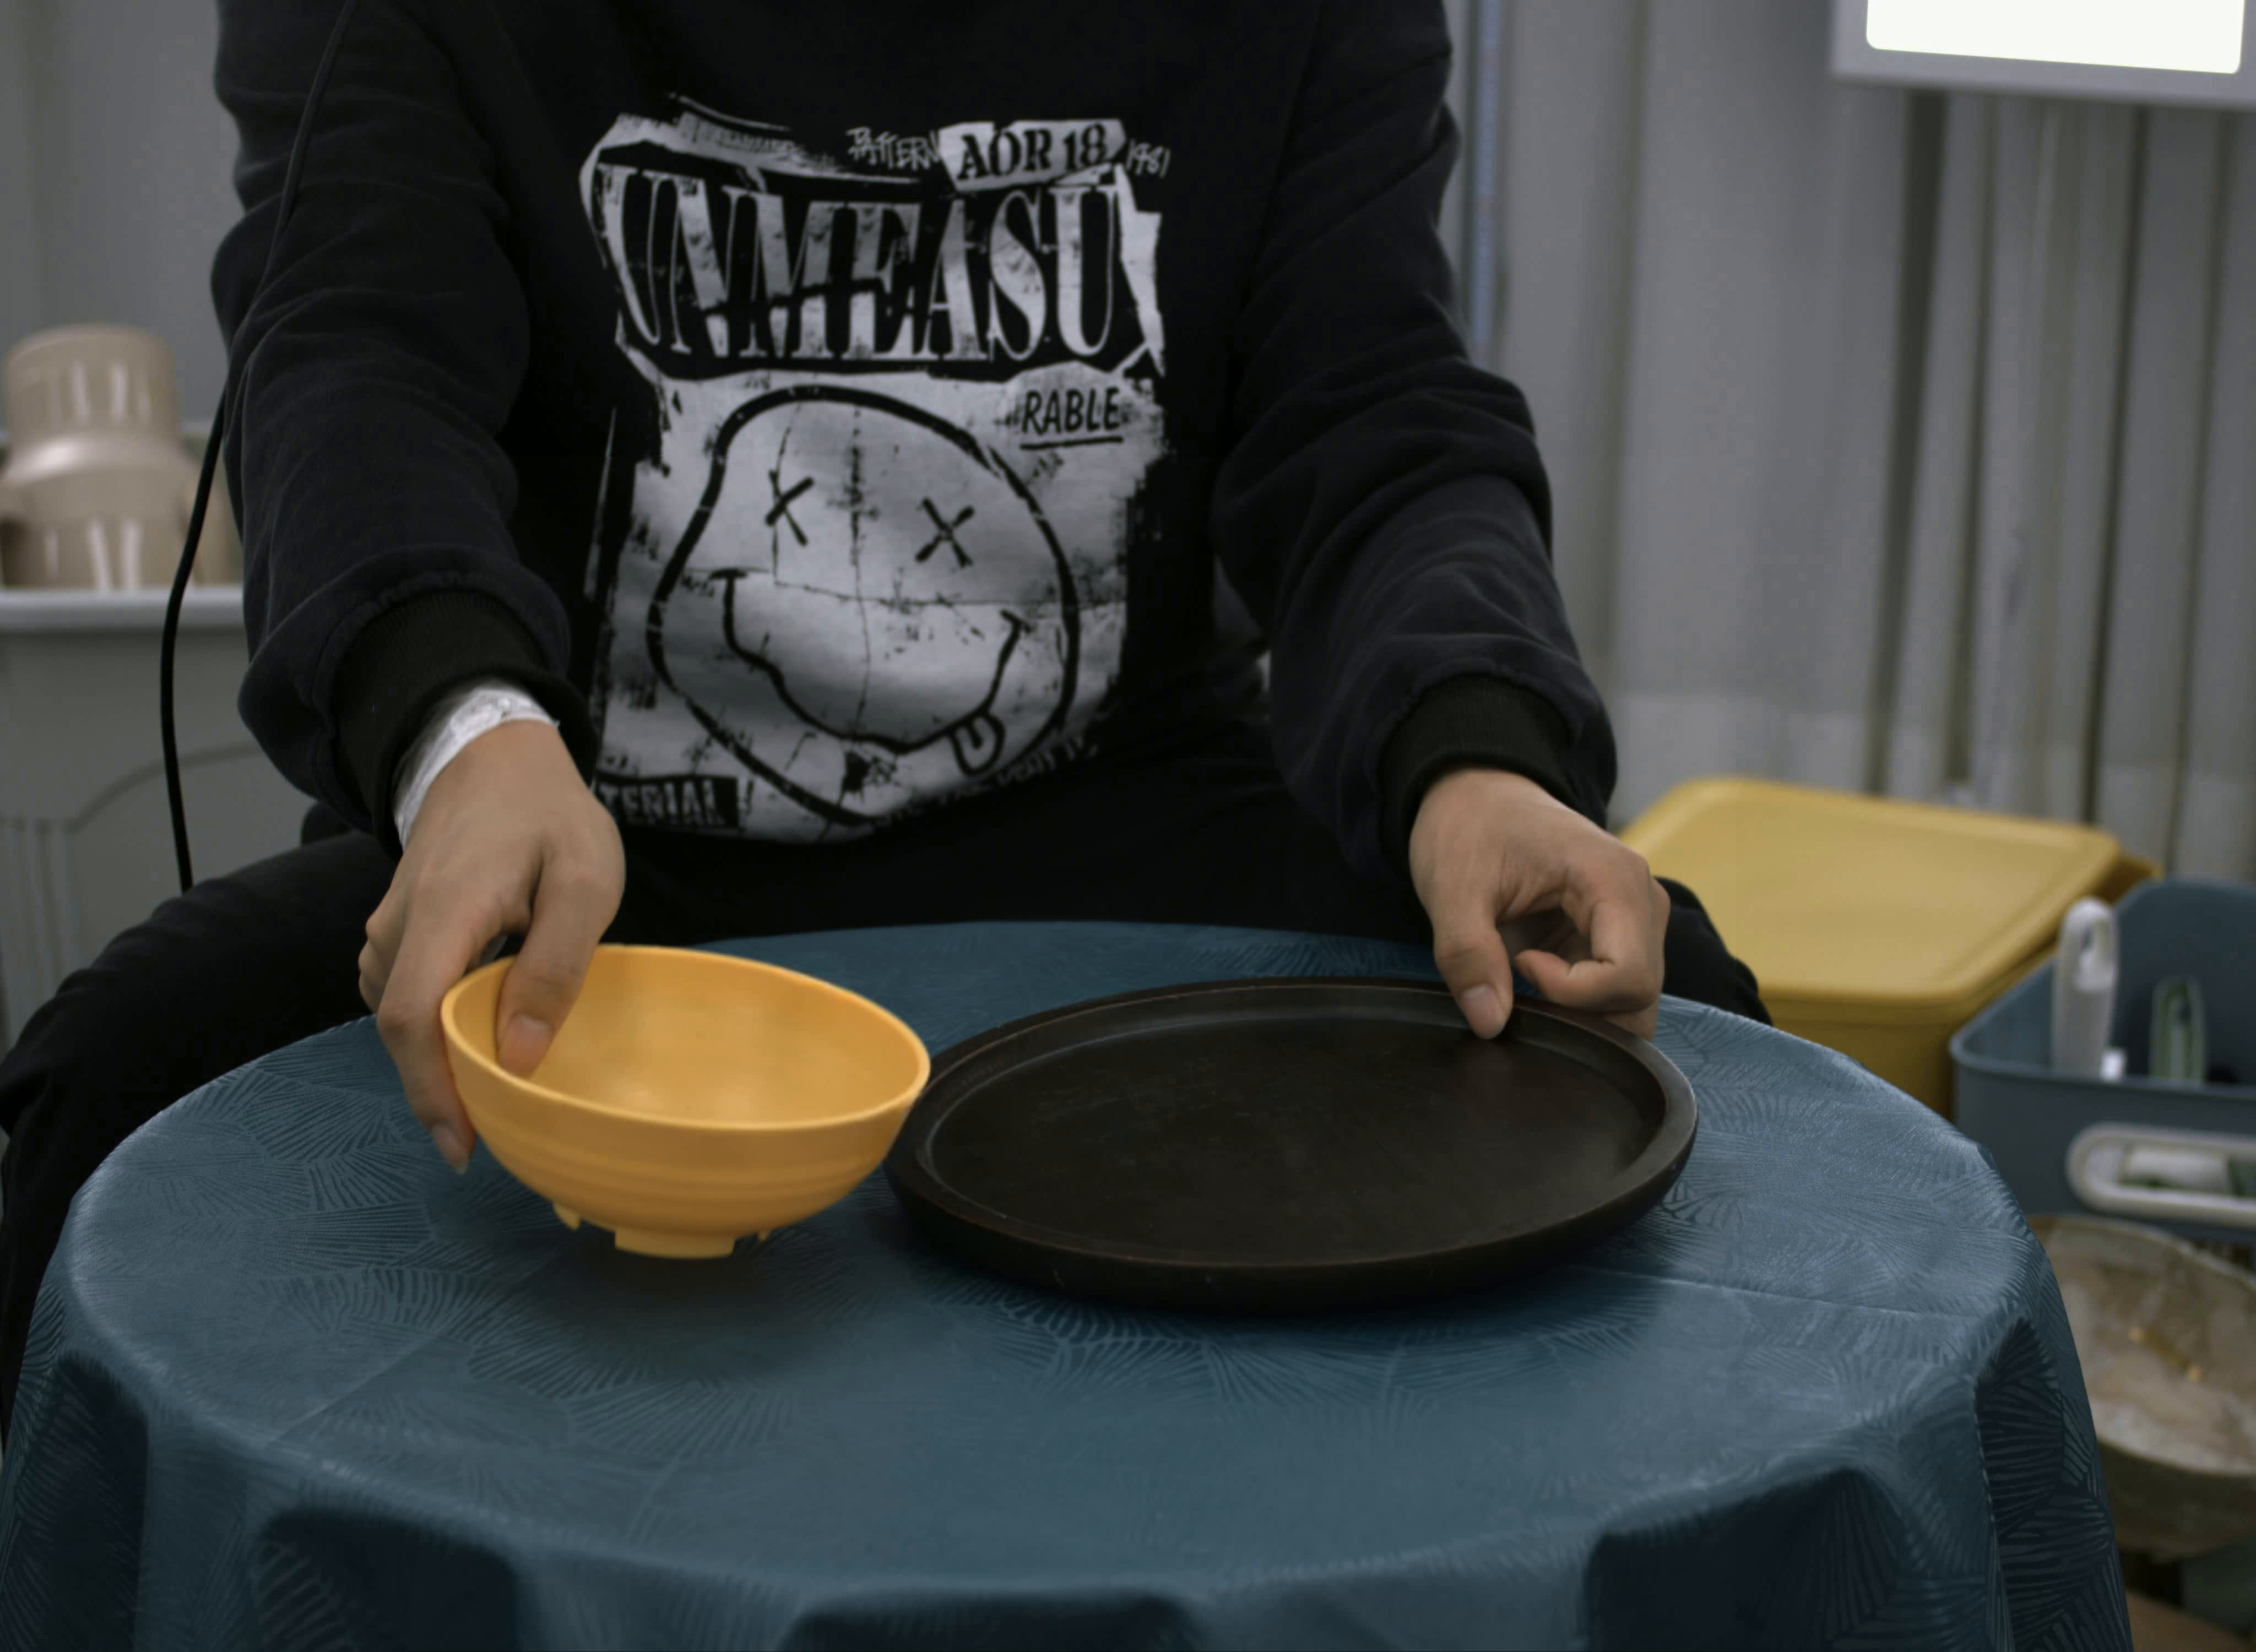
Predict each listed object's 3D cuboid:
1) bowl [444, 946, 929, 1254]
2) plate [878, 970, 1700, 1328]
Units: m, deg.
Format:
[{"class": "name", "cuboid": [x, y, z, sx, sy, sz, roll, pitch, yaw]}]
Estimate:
[{"class": "bowl", "cuboid": [-0.134, 0.086, 1.552, 0.145, 0.060, 0.144, 9, 16, -2]}, {"class": "plate", "cuboid": [0.050, 0.097, 1.622, 0.254, 0.029, 0.253, -3, 18, 2]}]
